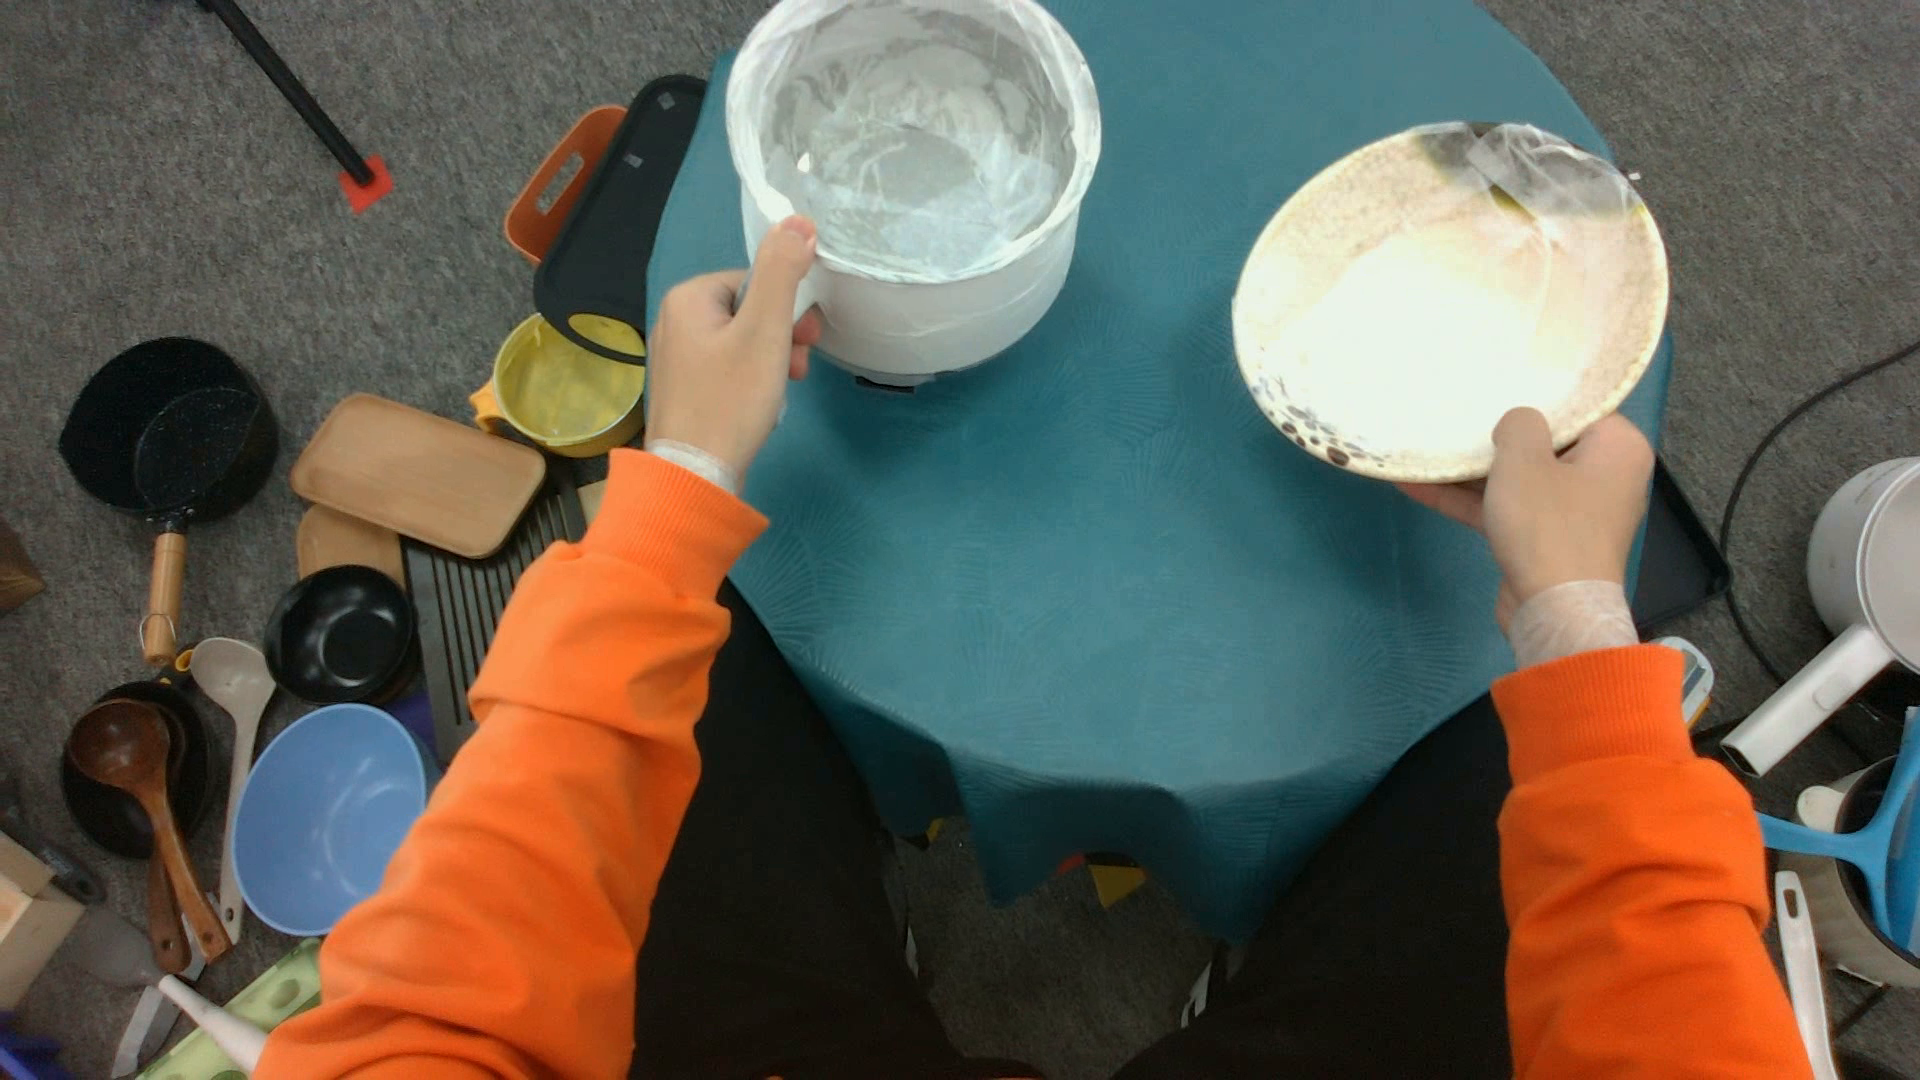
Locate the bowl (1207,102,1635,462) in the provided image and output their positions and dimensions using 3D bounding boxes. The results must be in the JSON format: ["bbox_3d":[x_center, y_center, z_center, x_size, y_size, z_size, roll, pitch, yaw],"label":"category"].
[{"bbox_3d":[0.237,-0.121,0.719,0.203,0.078,0.204,-7,67,18],"label":"bowl"}]

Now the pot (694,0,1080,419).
[{"bbox_3d":[-0.051,-0.167,0.703,0.179,0.136,0.234,35,73,8],"label":"pot"}]
